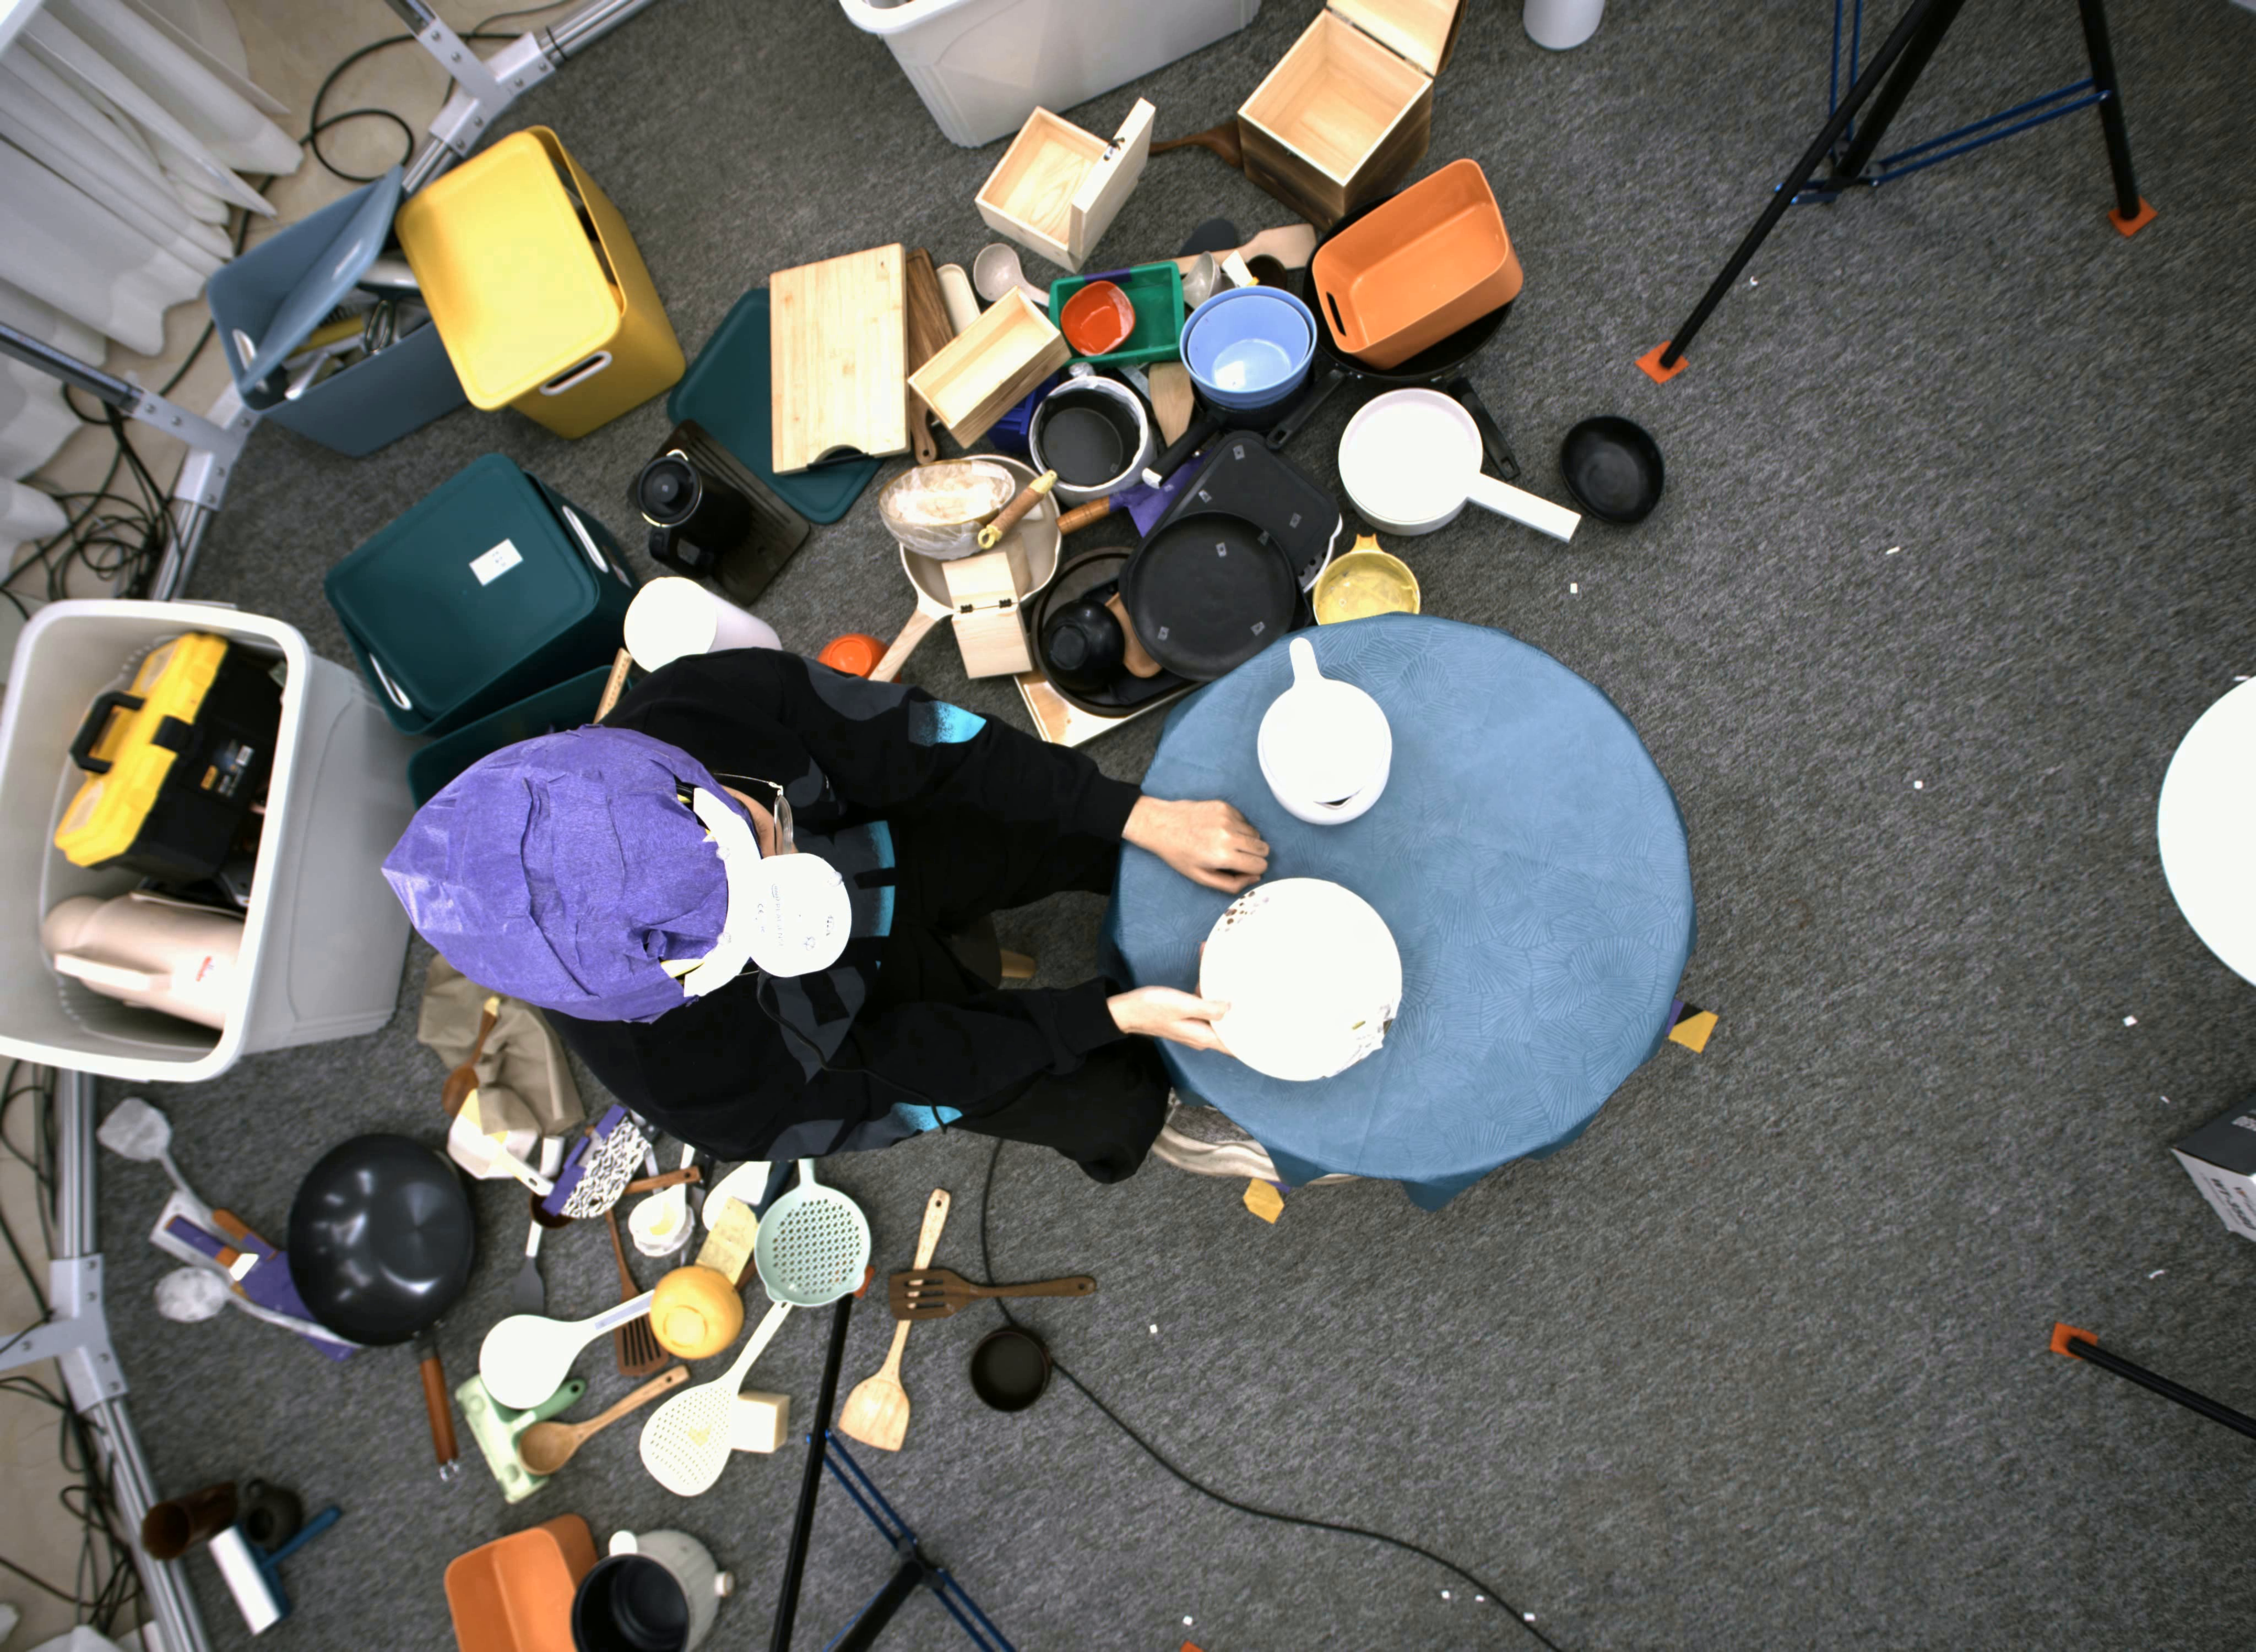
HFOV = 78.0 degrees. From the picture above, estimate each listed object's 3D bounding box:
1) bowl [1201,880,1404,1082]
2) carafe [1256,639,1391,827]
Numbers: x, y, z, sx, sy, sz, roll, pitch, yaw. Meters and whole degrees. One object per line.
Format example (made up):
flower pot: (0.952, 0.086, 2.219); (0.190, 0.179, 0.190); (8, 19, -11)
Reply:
bowl: (0.181, 0.159, 1.429); (0.205, 0.078, 0.203); (-1, 85, 12)
carafe: (0.191, -0.097, 1.392); (0.133, 0.183, 0.189); (-16, 81, 7)
